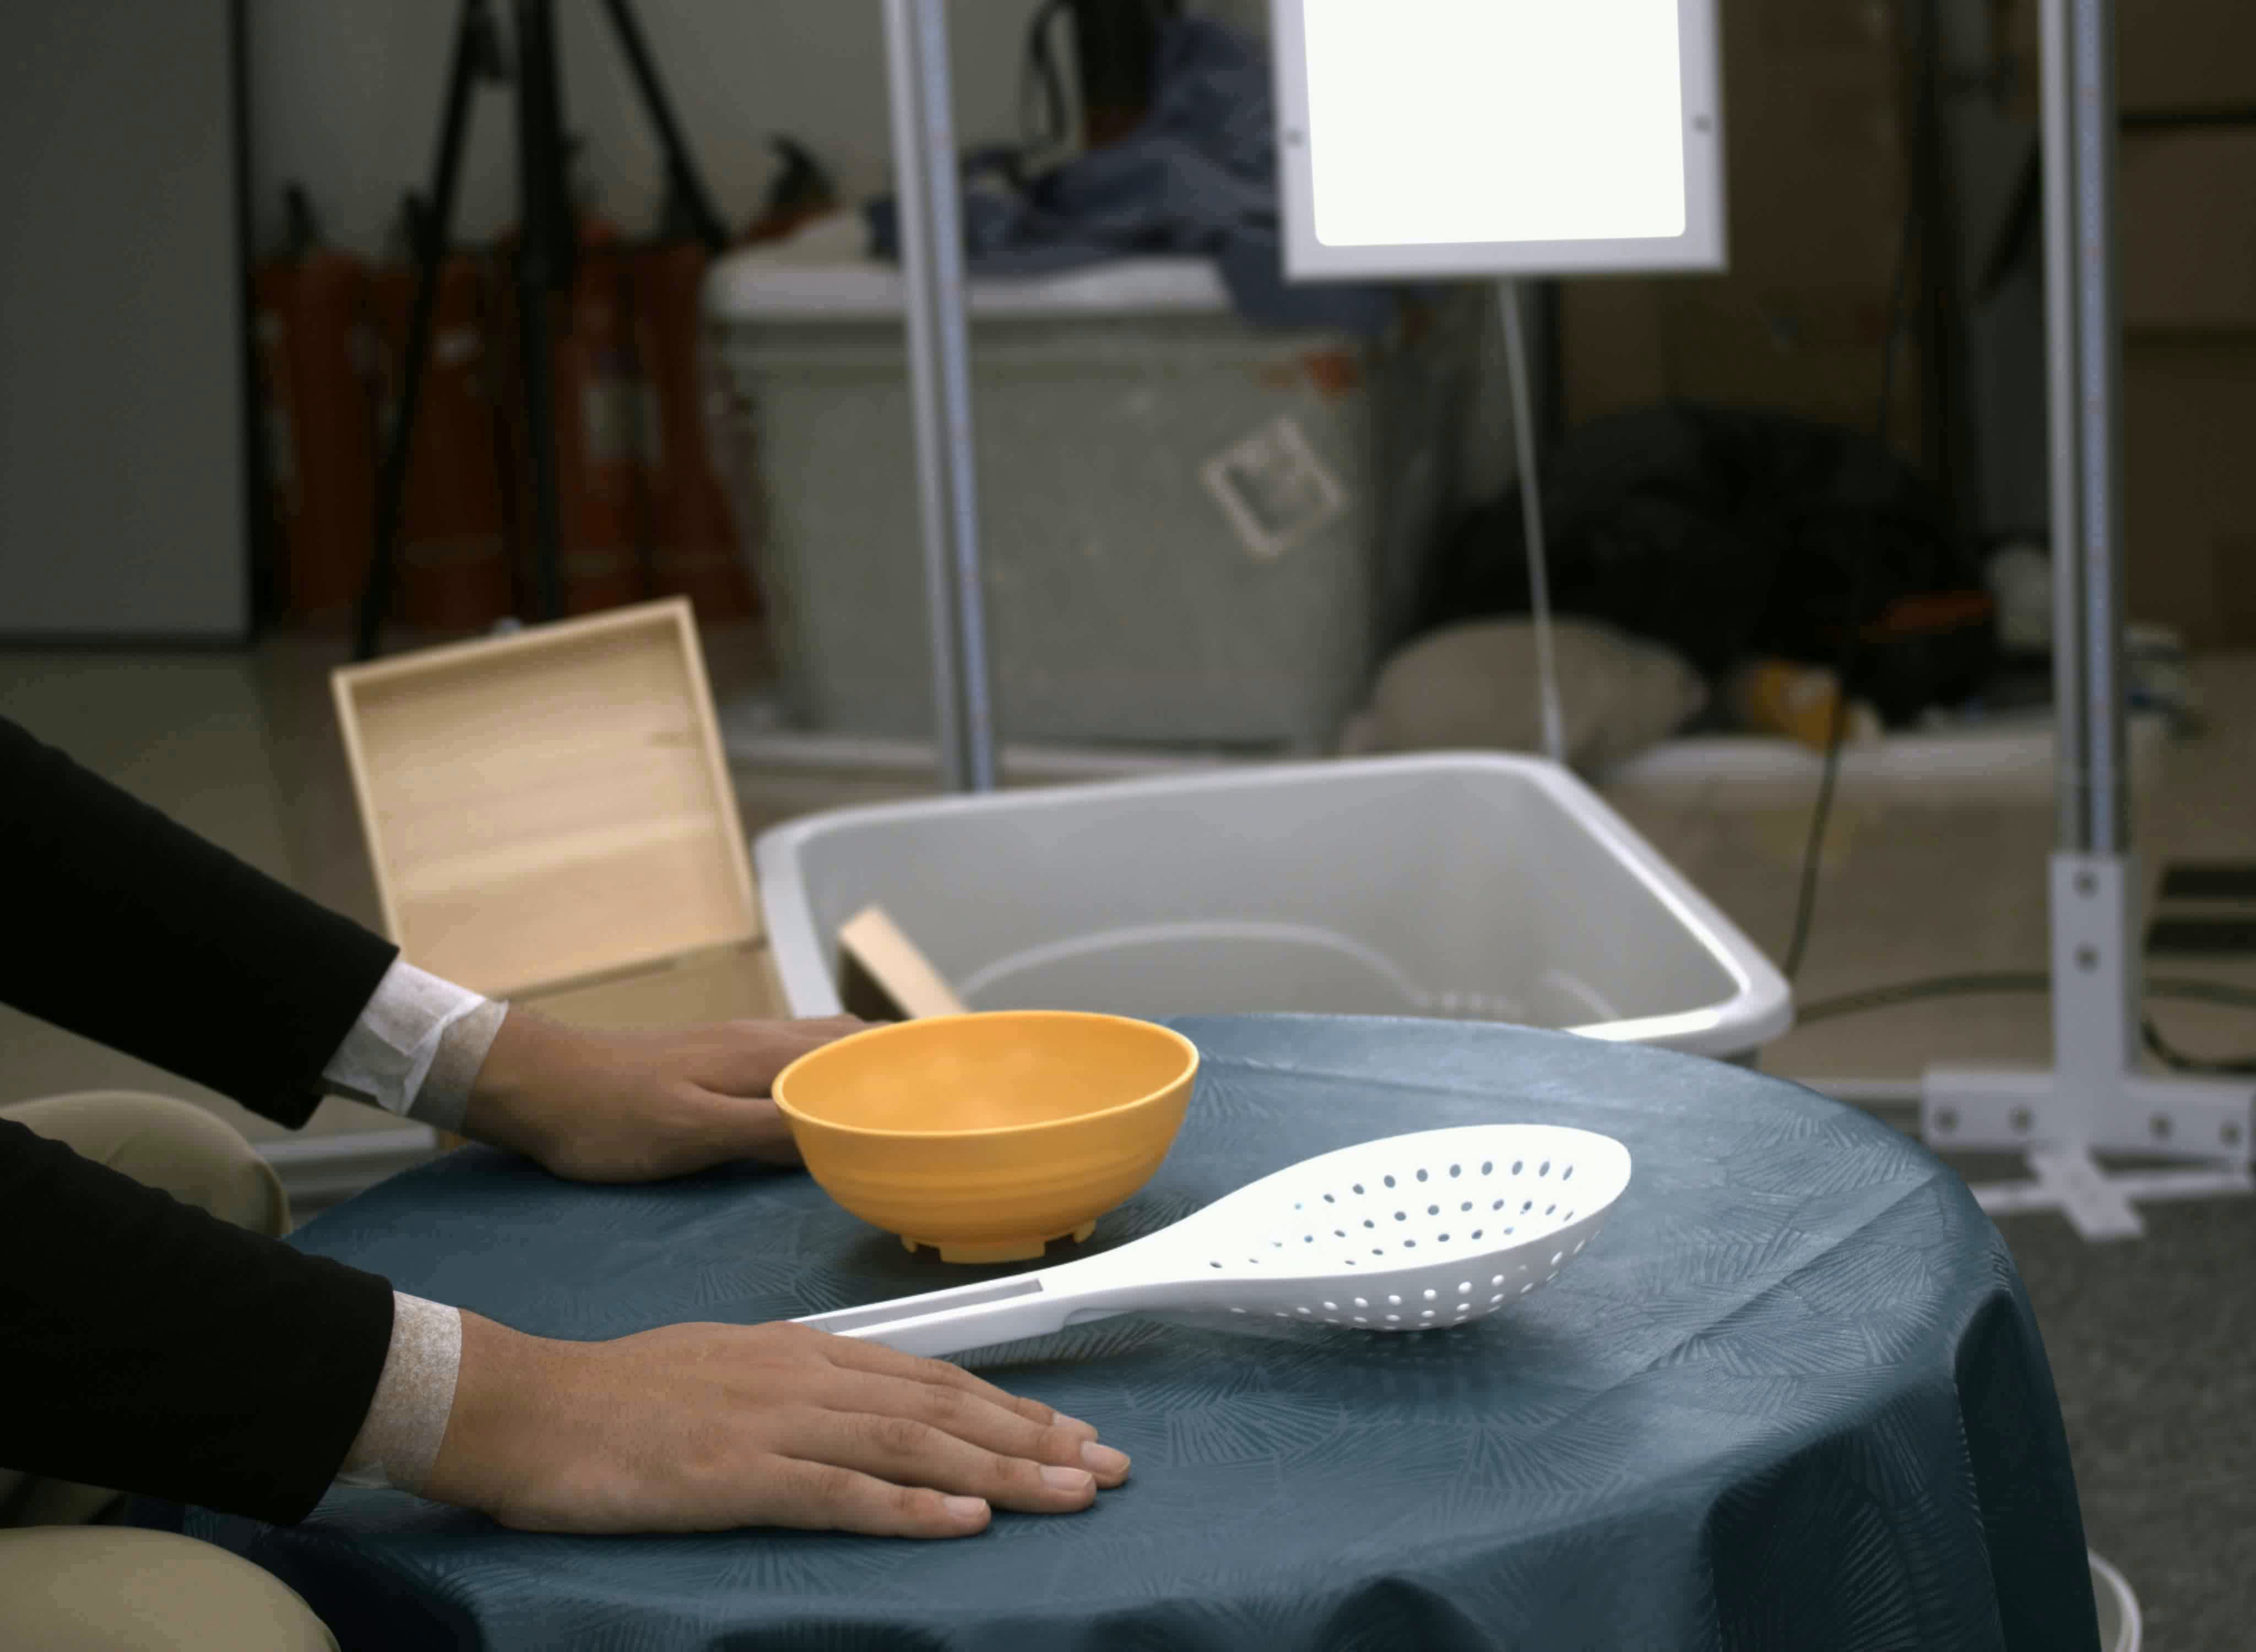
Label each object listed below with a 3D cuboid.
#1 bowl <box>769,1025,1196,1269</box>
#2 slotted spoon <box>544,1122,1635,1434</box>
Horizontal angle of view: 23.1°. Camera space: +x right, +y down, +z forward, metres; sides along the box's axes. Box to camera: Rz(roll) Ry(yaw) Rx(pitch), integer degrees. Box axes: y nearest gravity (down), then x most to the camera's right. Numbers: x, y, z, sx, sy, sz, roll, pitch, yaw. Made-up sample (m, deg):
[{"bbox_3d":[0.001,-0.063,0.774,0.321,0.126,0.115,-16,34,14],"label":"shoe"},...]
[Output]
[{"bbox_3d":[-0.048,0.112,1.859,0.145,0.060,0.145,-4,12,-1],"label":"bowl"},{"bbox_3d":[-0.010,0.145,1.730,0.347,0.046,0.136,-7,13,-5],"label":"slotted spoon"}]
